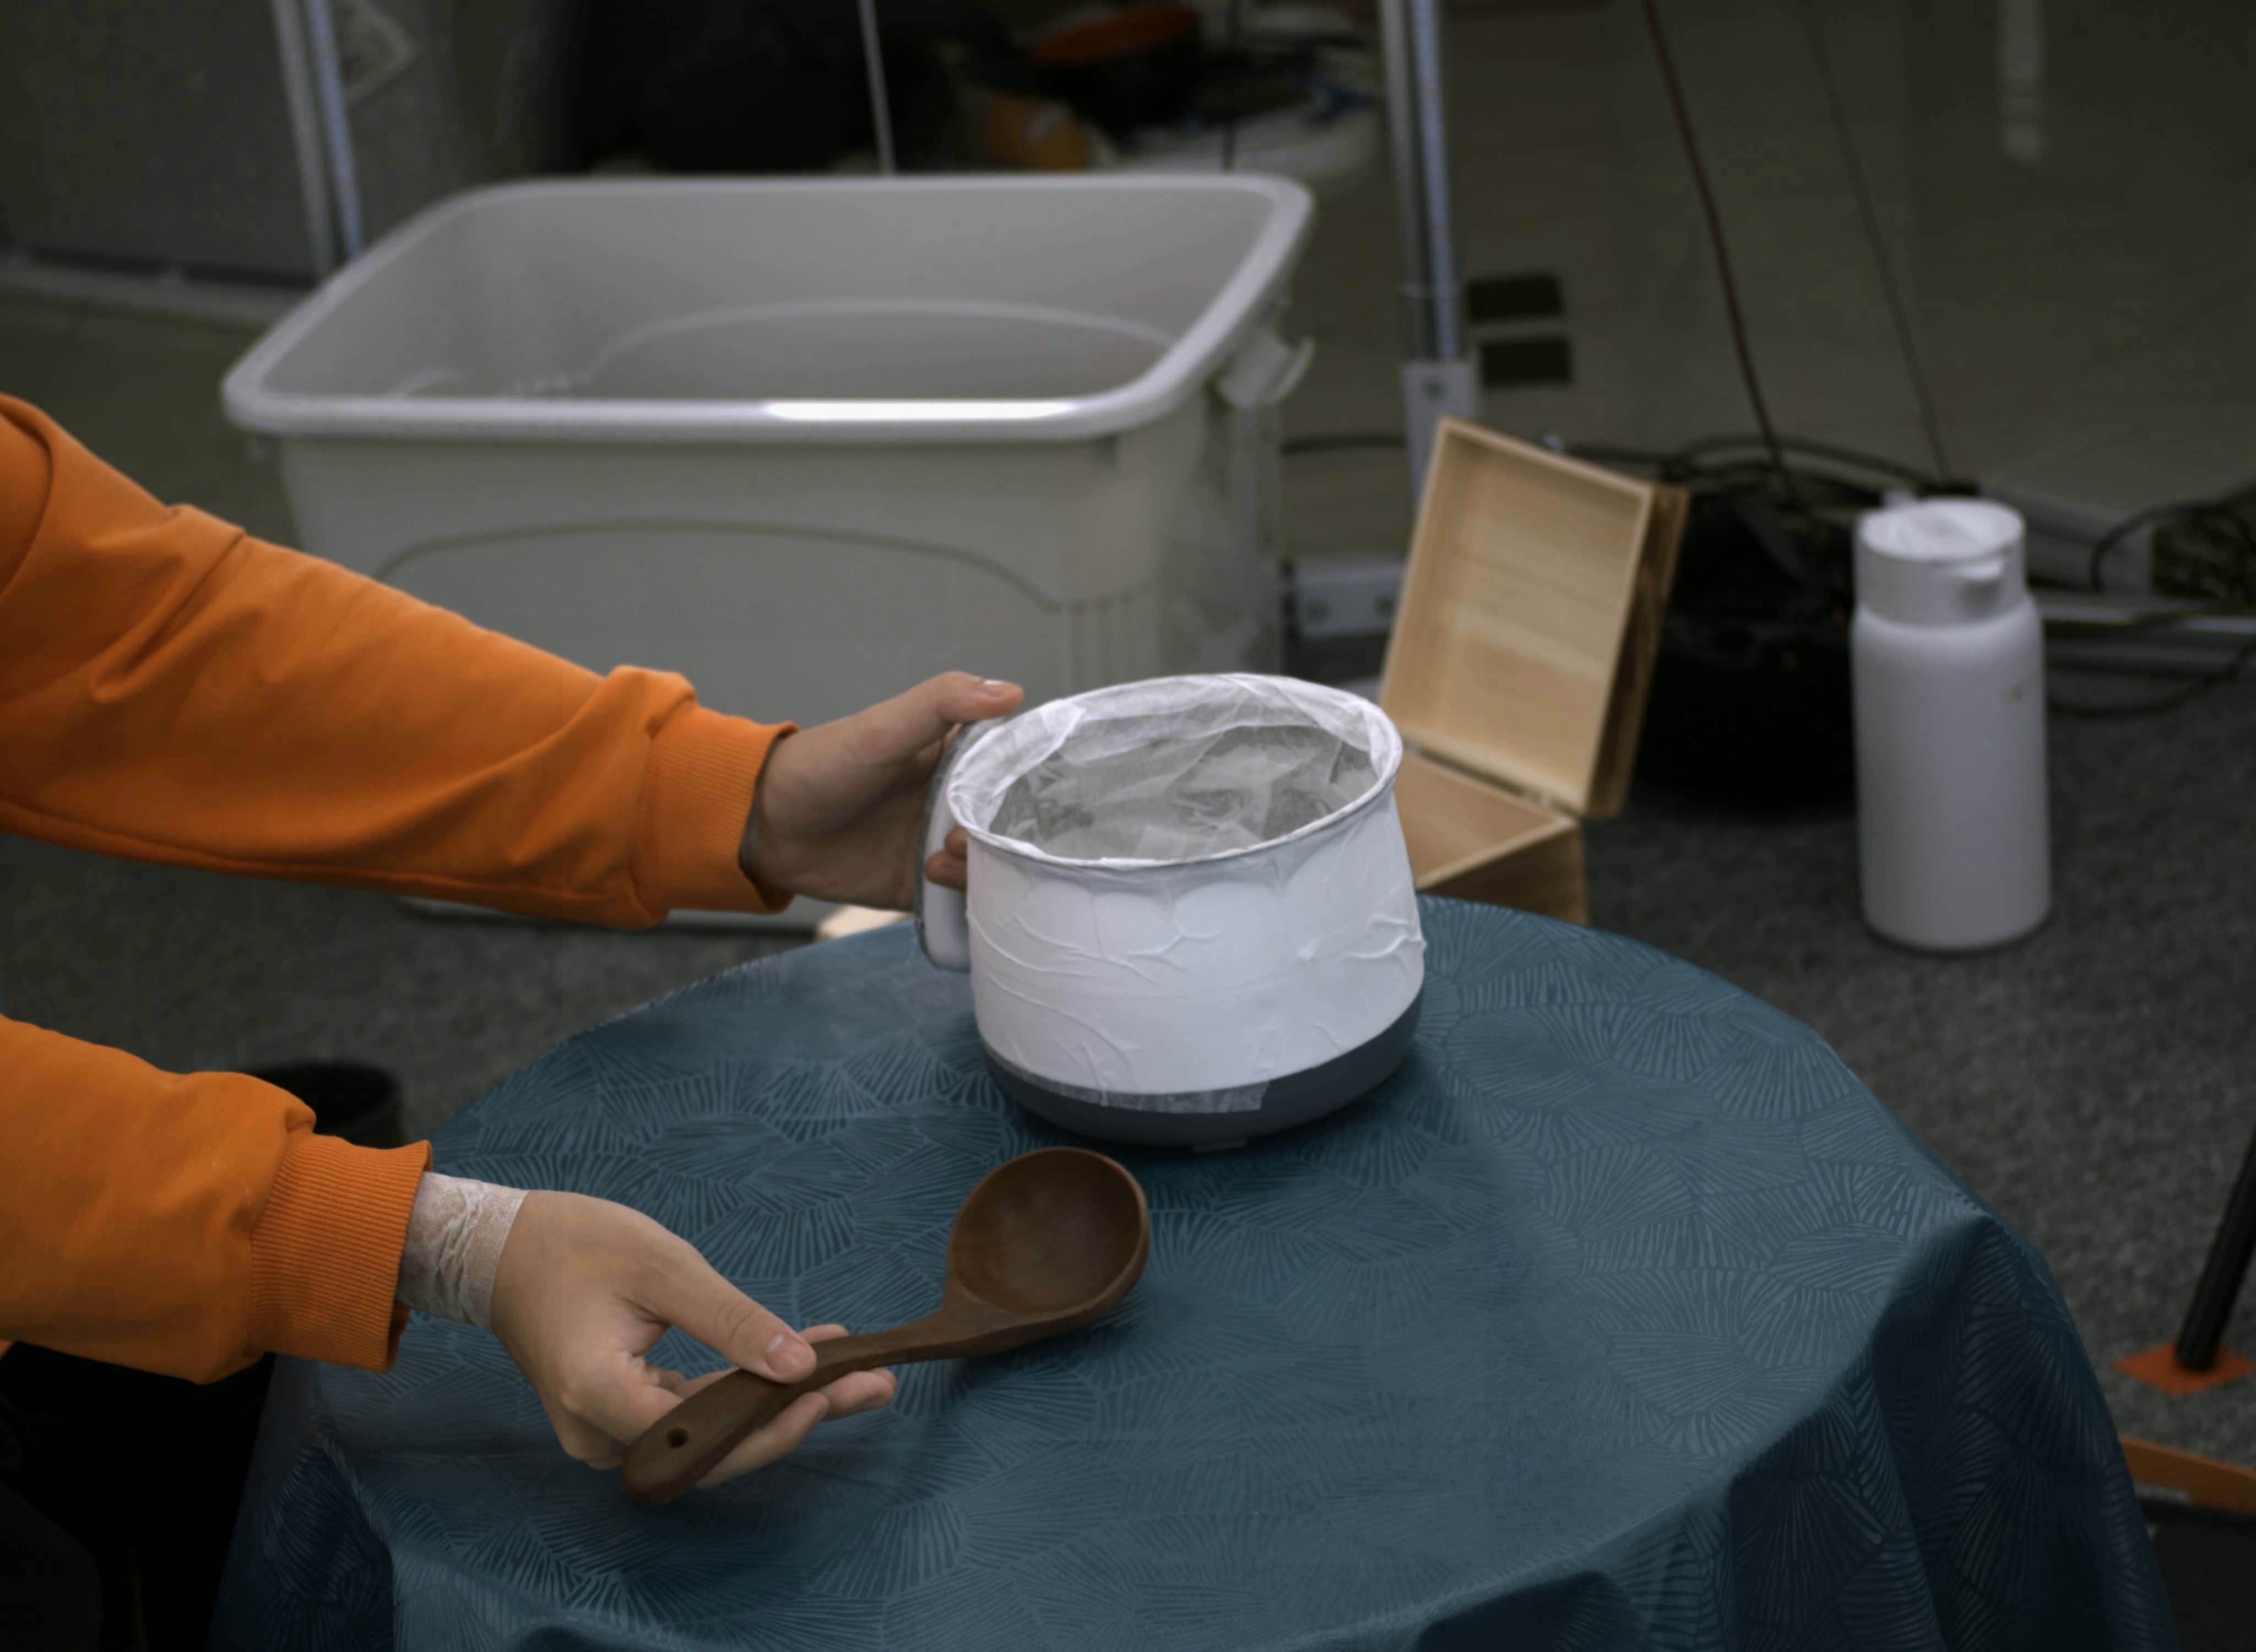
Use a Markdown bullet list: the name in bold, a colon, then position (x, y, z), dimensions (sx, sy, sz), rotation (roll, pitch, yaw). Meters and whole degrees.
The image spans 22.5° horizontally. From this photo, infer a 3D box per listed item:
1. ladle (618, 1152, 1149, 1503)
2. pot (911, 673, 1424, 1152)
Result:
- **ladle**: position (-0.086, 0.172, 1.983), dimensions (0.076, 0.066, 0.259), rotation (19, 22, 33)
- **pot**: position (0.003, 0.029, 2.216), dimensions (0.232, 0.139, 0.177), rotation (15, 32, 38)
